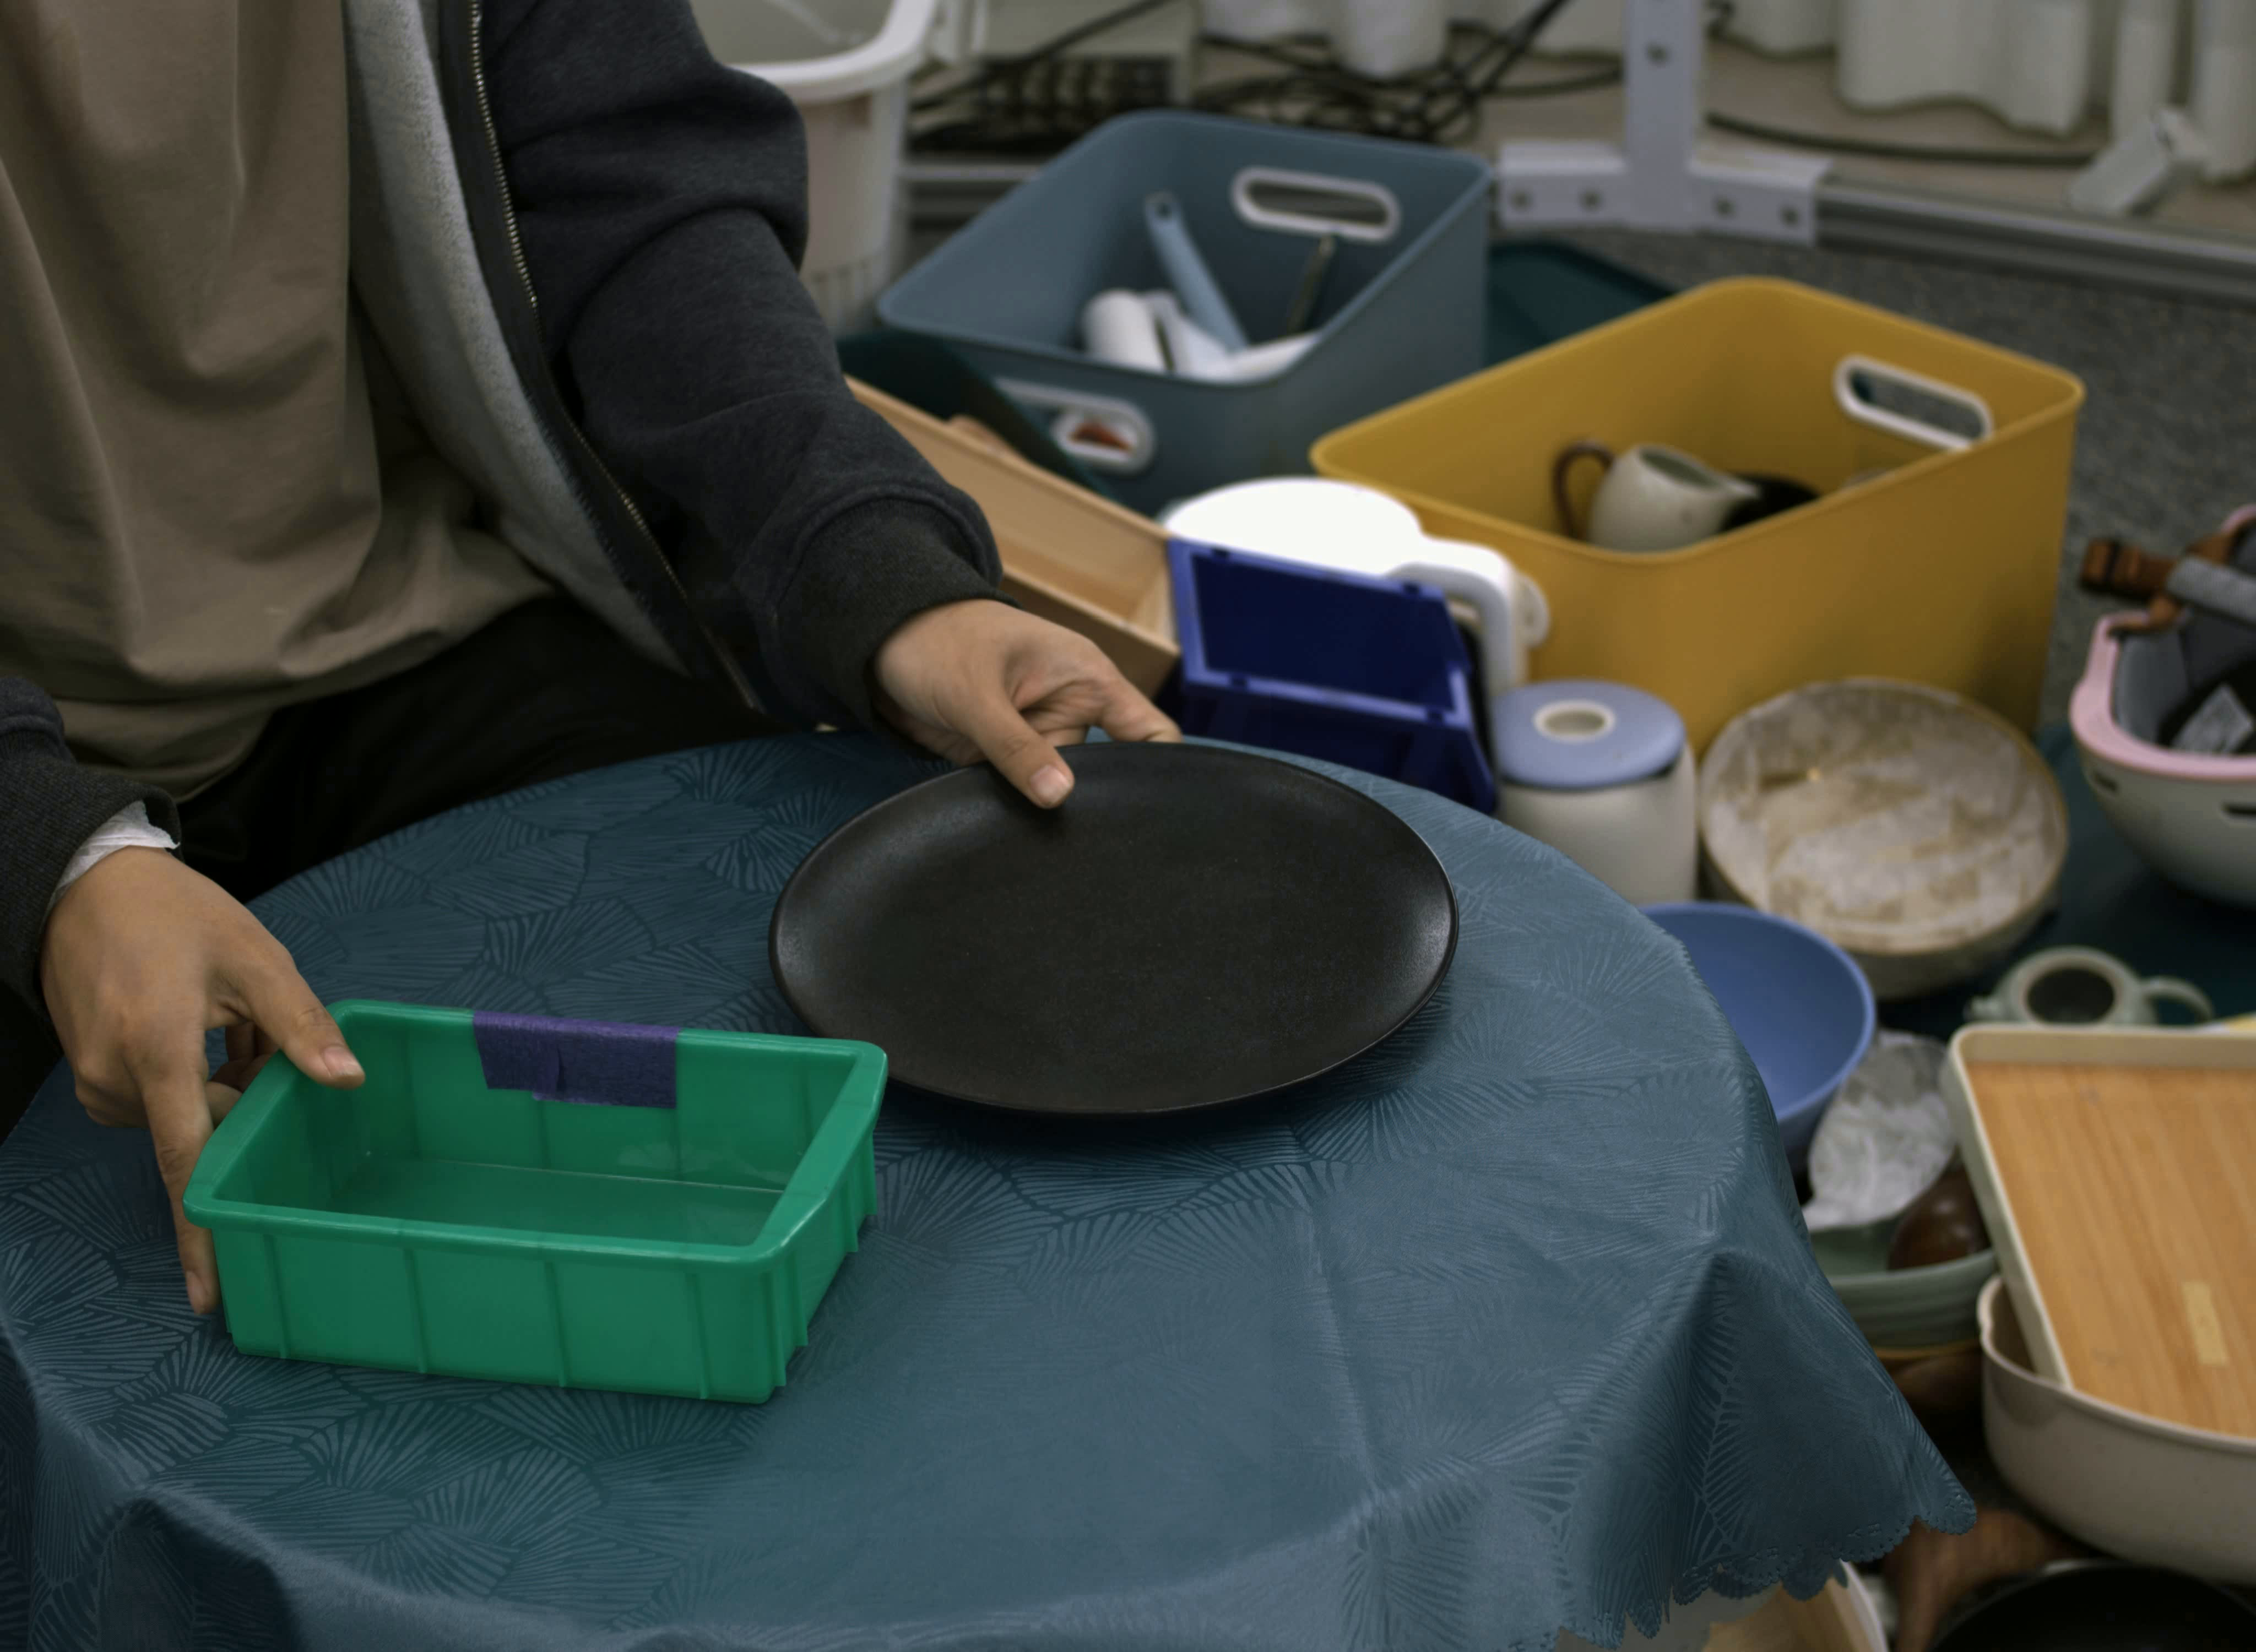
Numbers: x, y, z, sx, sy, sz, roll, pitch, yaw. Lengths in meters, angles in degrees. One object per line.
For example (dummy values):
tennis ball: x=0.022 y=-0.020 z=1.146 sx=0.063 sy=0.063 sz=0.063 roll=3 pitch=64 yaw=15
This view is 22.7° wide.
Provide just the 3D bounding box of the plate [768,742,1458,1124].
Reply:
plate: x=-0.005 y=0.041 z=1.980 sx=0.243 sy=0.023 sz=0.248 roll=-2 pitch=31 yaw=1

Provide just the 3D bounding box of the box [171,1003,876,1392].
box: x=-0.190 y=0.121 z=1.814 sx=0.209 sy=0.065 sz=0.141 roll=2 pitch=26 yaw=13
